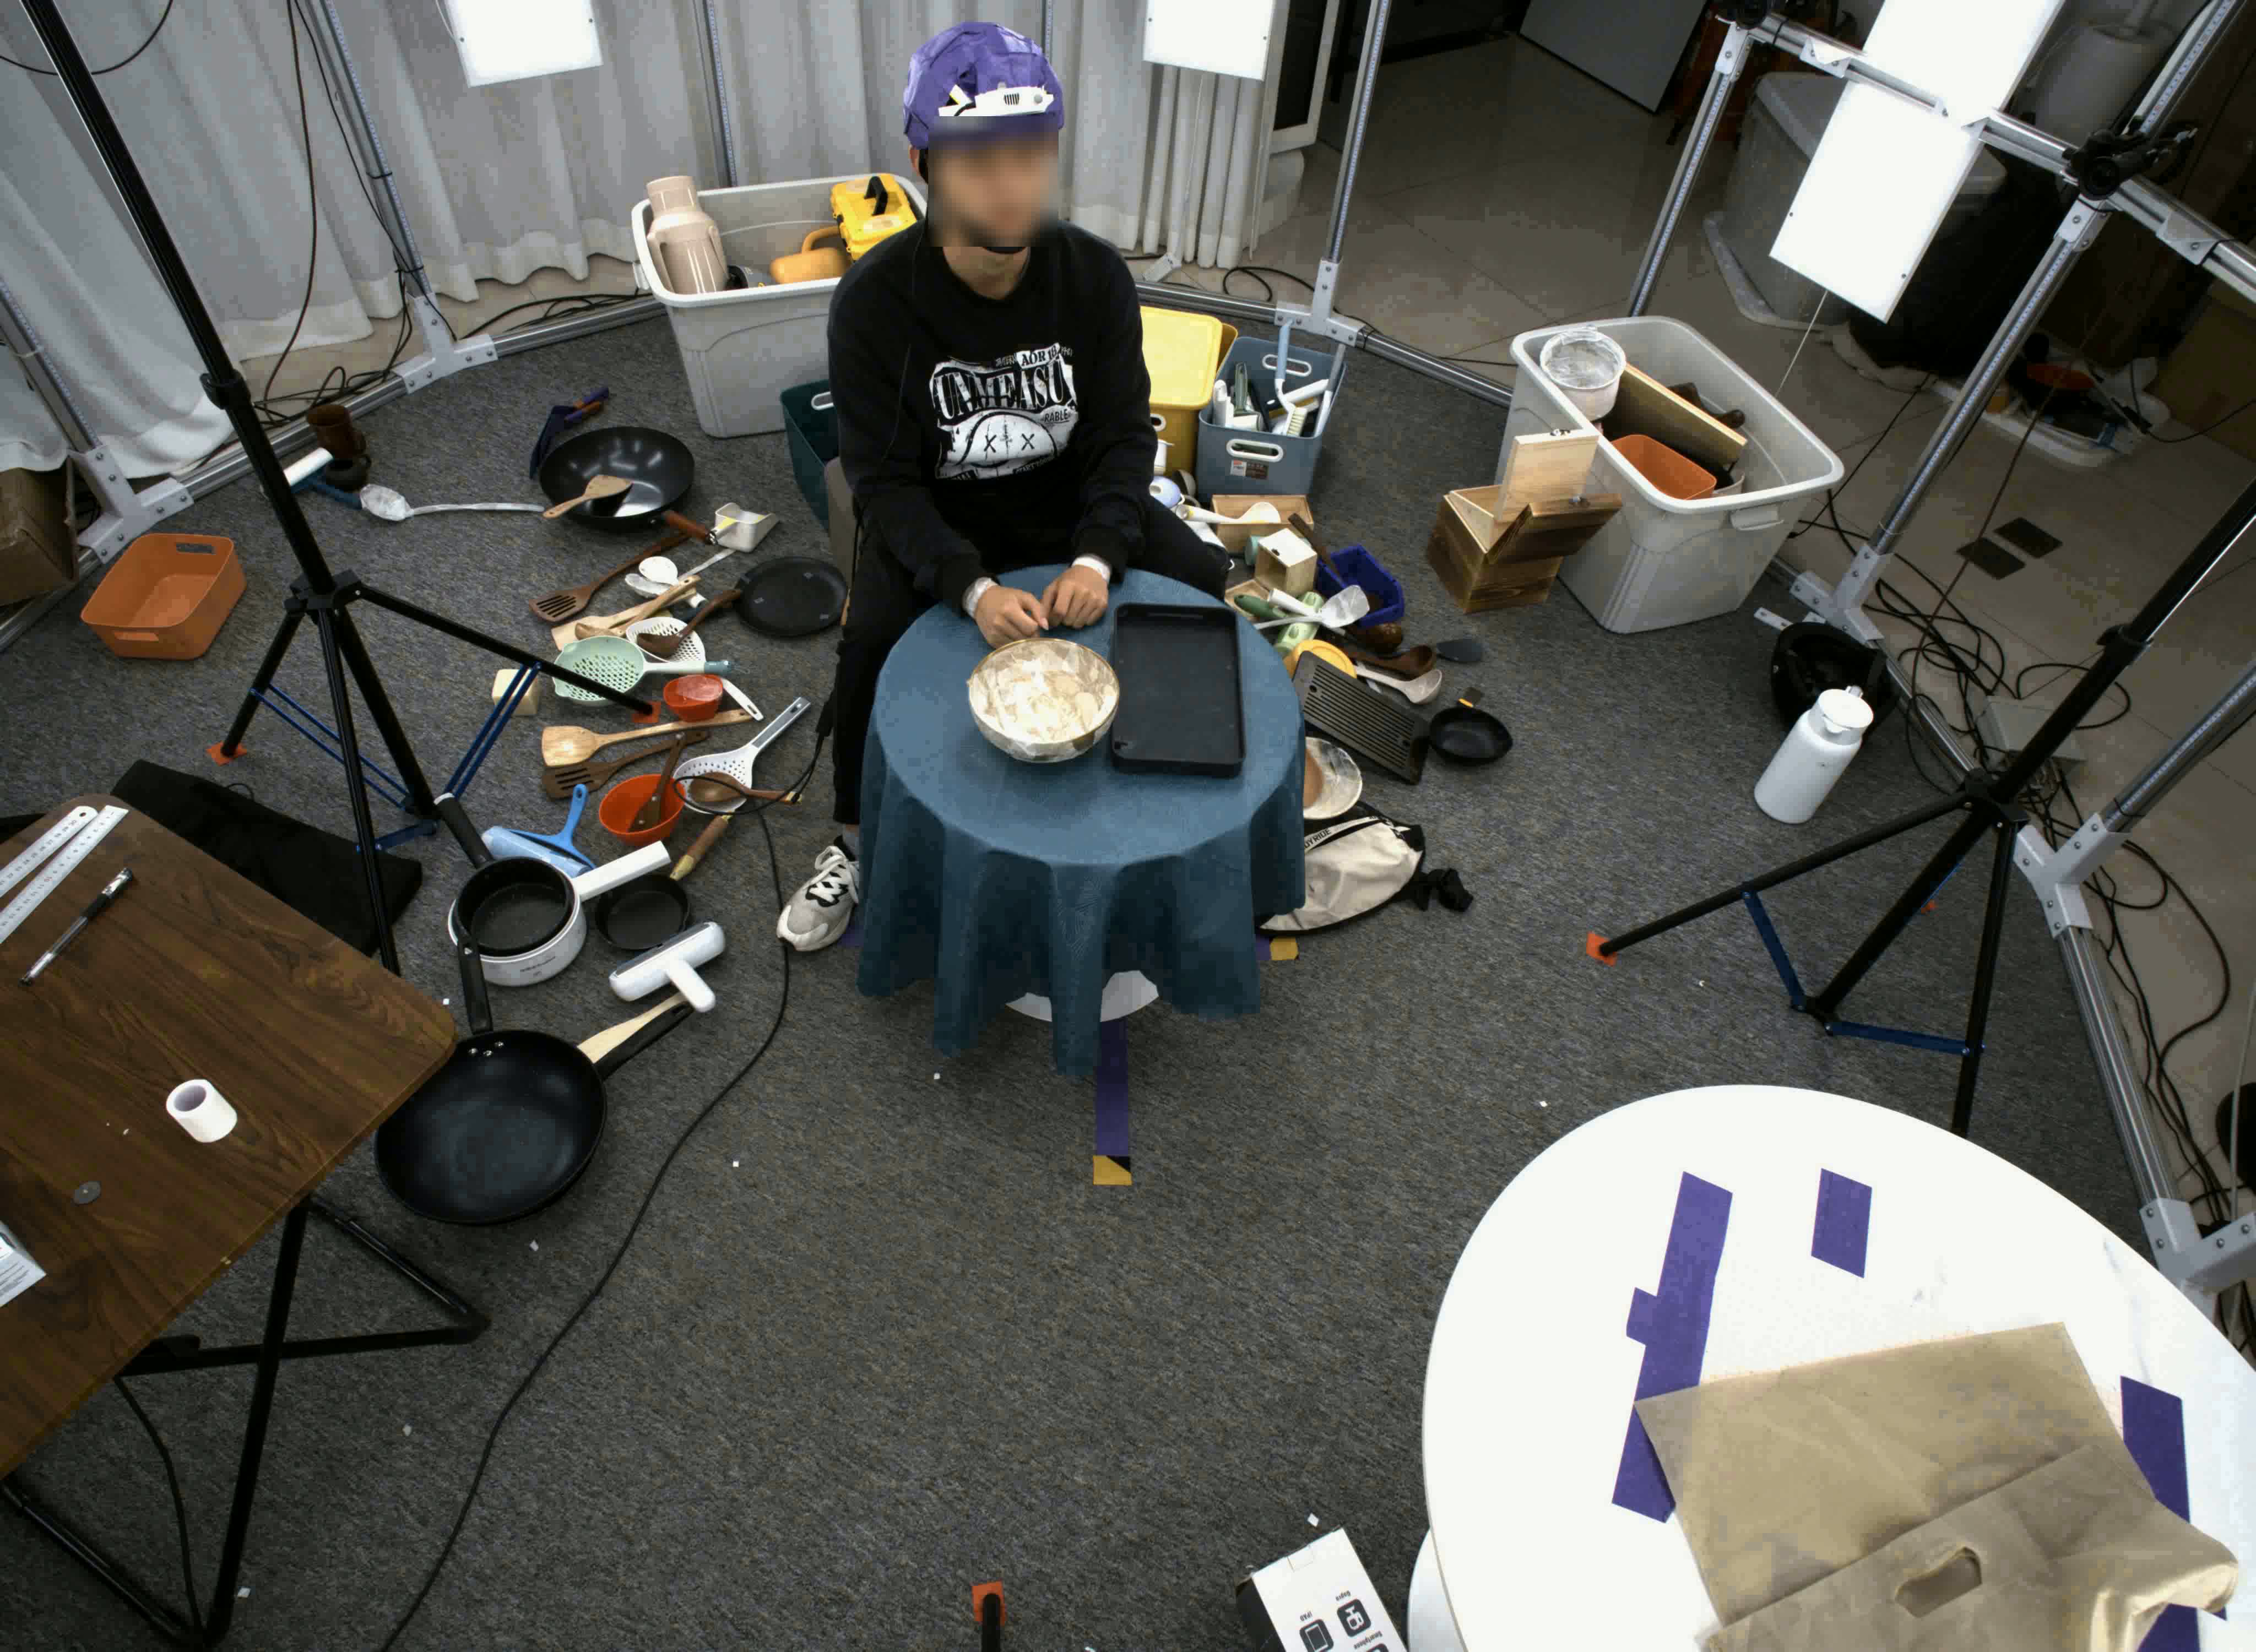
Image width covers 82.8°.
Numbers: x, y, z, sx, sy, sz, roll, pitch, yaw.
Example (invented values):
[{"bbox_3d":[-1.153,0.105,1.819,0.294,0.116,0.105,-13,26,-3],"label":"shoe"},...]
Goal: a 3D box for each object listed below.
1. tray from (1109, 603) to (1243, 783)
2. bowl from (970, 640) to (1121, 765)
[{"bbox_3d":[0.069,-0.196,1.839,0.184,0.036,0.326,5,50,-1],"label":"tray"},{"bbox_3d":[-0.109,-0.156,1.752,0.214,0.092,0.220,1,49,-1],"label":"bowl"}]
